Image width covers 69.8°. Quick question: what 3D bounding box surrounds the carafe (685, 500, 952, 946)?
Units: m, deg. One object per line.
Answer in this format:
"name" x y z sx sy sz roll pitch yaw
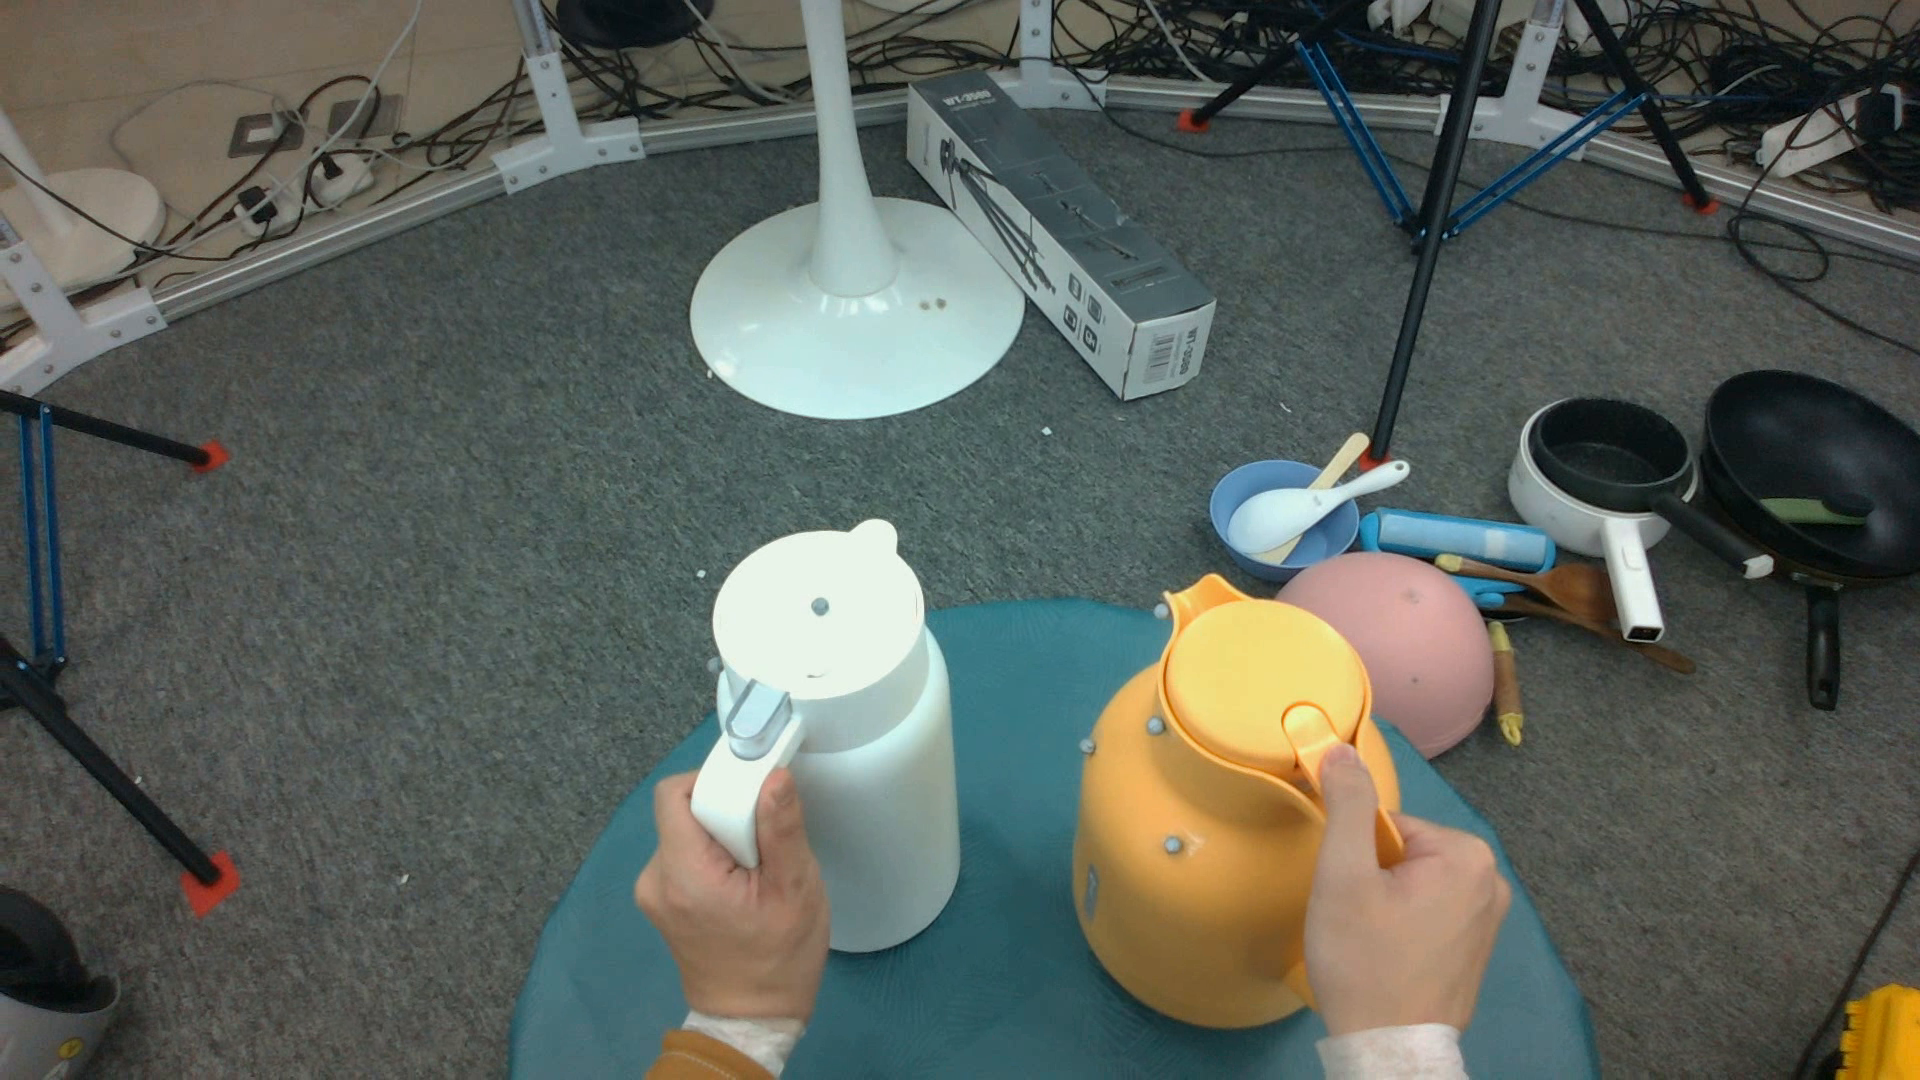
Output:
"carafe" -0.072 0.124 0.728 0.124 0.267 0.173 19 54 14

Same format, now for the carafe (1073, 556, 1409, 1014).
"carafe" 0.147 0.145 0.709 0.164 0.259 0.203 -20 52 -11
